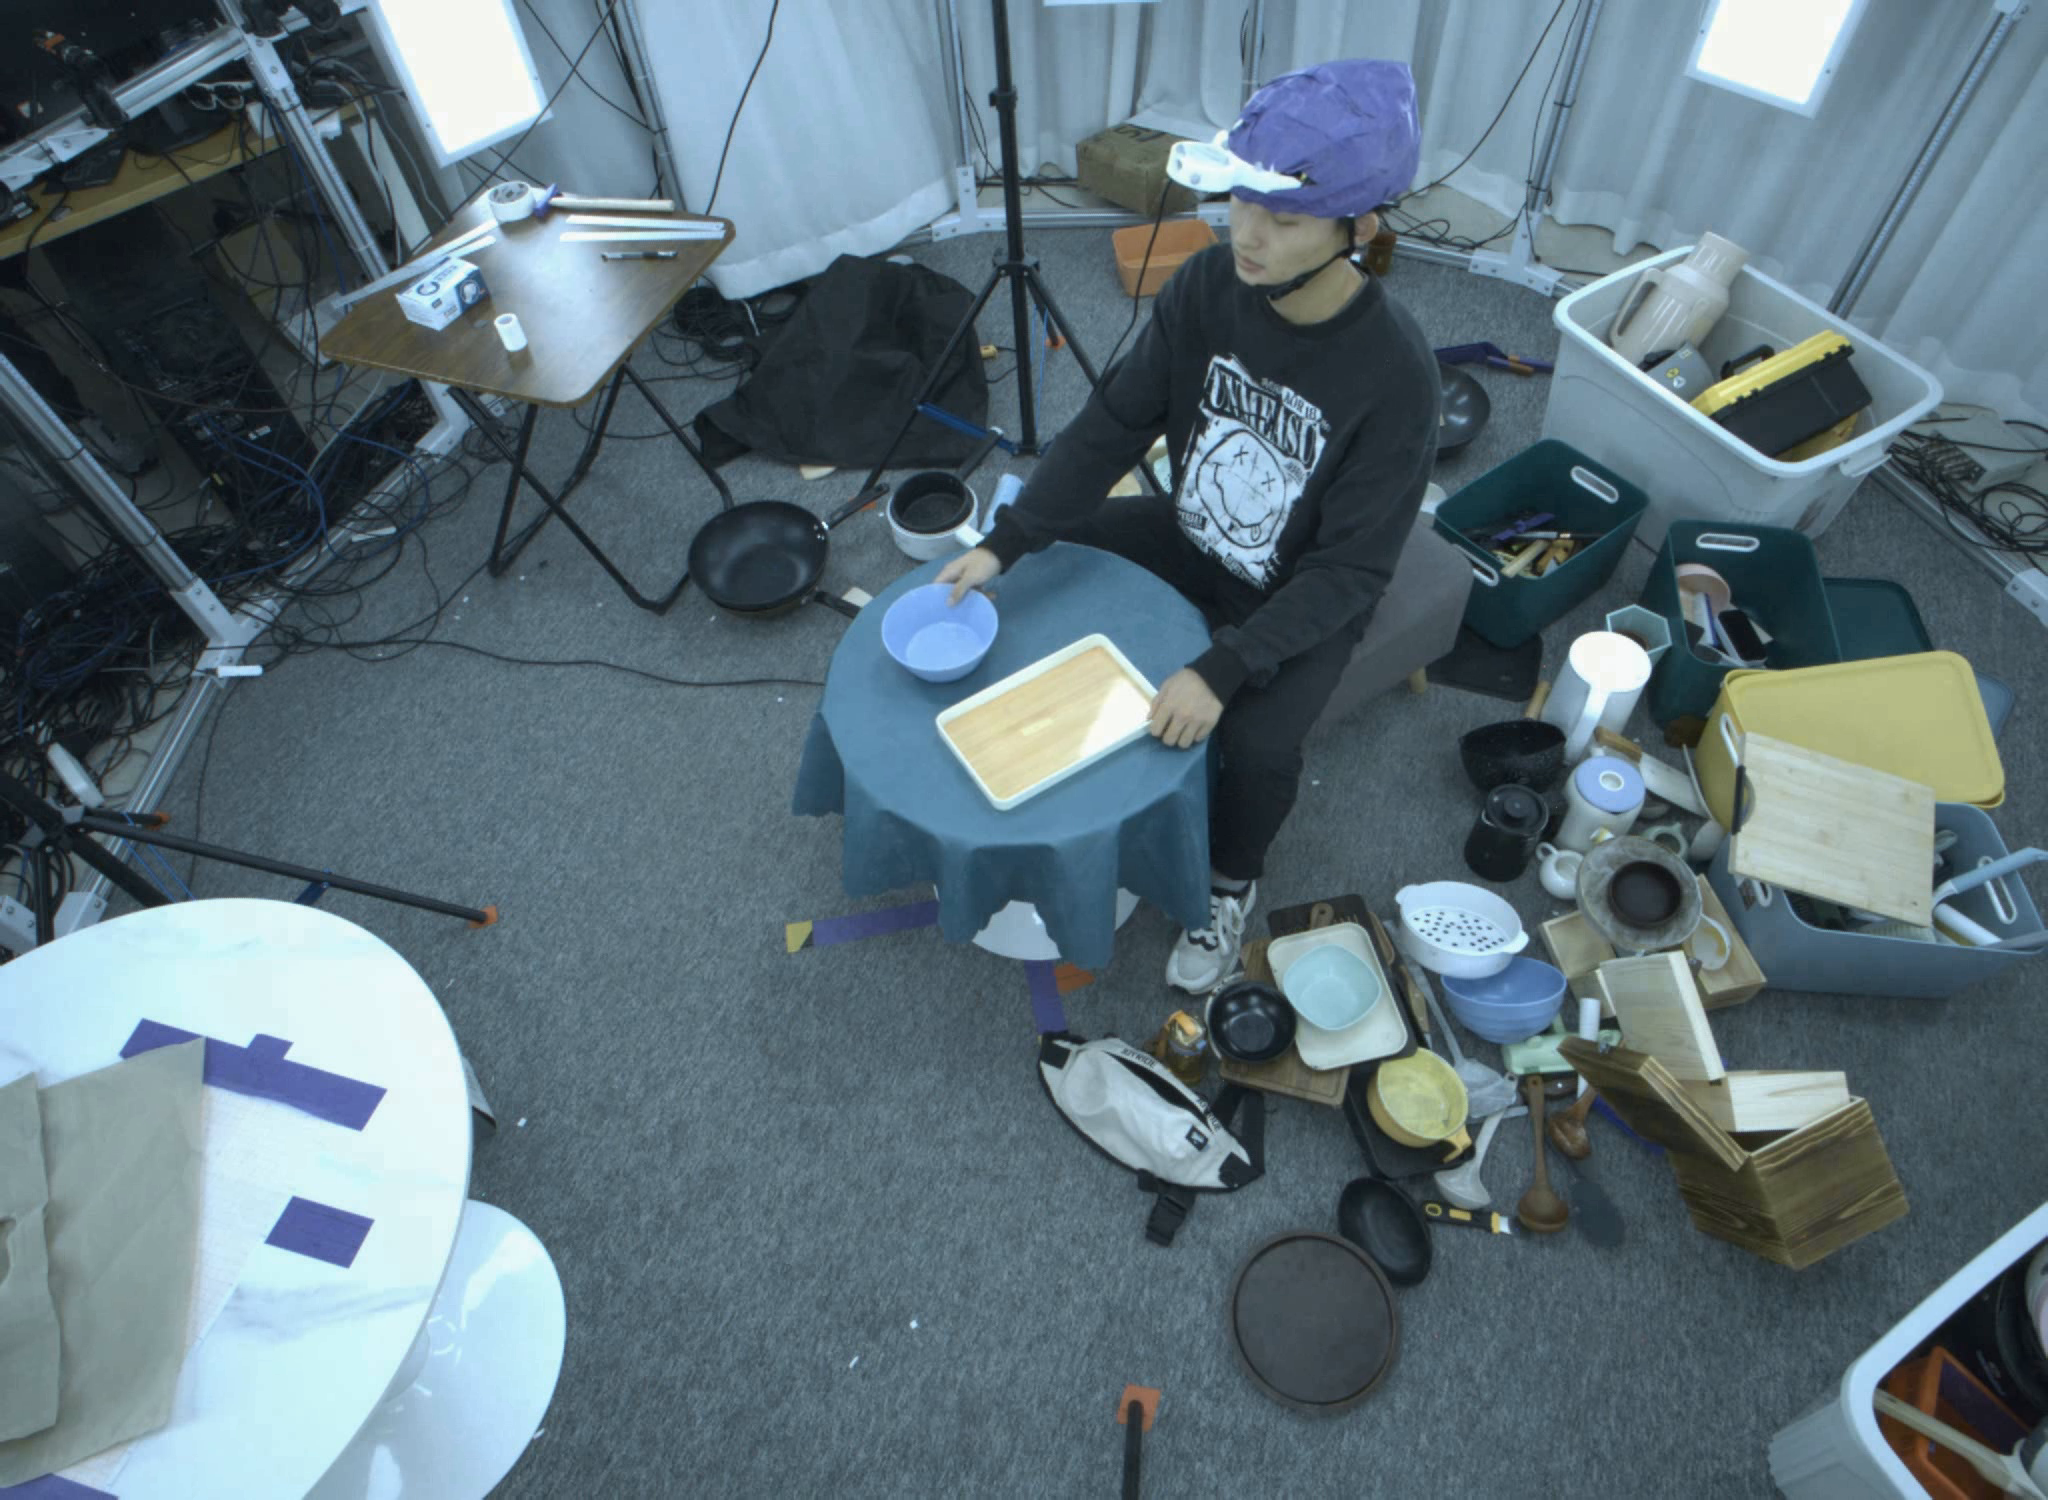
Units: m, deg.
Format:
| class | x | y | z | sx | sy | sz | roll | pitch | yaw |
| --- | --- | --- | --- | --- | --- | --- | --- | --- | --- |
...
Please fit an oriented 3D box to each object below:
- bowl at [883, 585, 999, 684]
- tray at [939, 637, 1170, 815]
| class | x | y | z | sx | sy | sz | roll | pitch | yaw |
| --- | --- | --- | --- | --- | --- | --- | --- | --- | --- |
| bowl | -0.124 | -0.166 | 1.874 | 0.176 | 0.071 | 0.174 | 0 | 56 | 1 |
| tray | 0.045 | -0.041 | 1.809 | 0.302 | 0.028 | 0.188 | -29 | 58 | -17 |
